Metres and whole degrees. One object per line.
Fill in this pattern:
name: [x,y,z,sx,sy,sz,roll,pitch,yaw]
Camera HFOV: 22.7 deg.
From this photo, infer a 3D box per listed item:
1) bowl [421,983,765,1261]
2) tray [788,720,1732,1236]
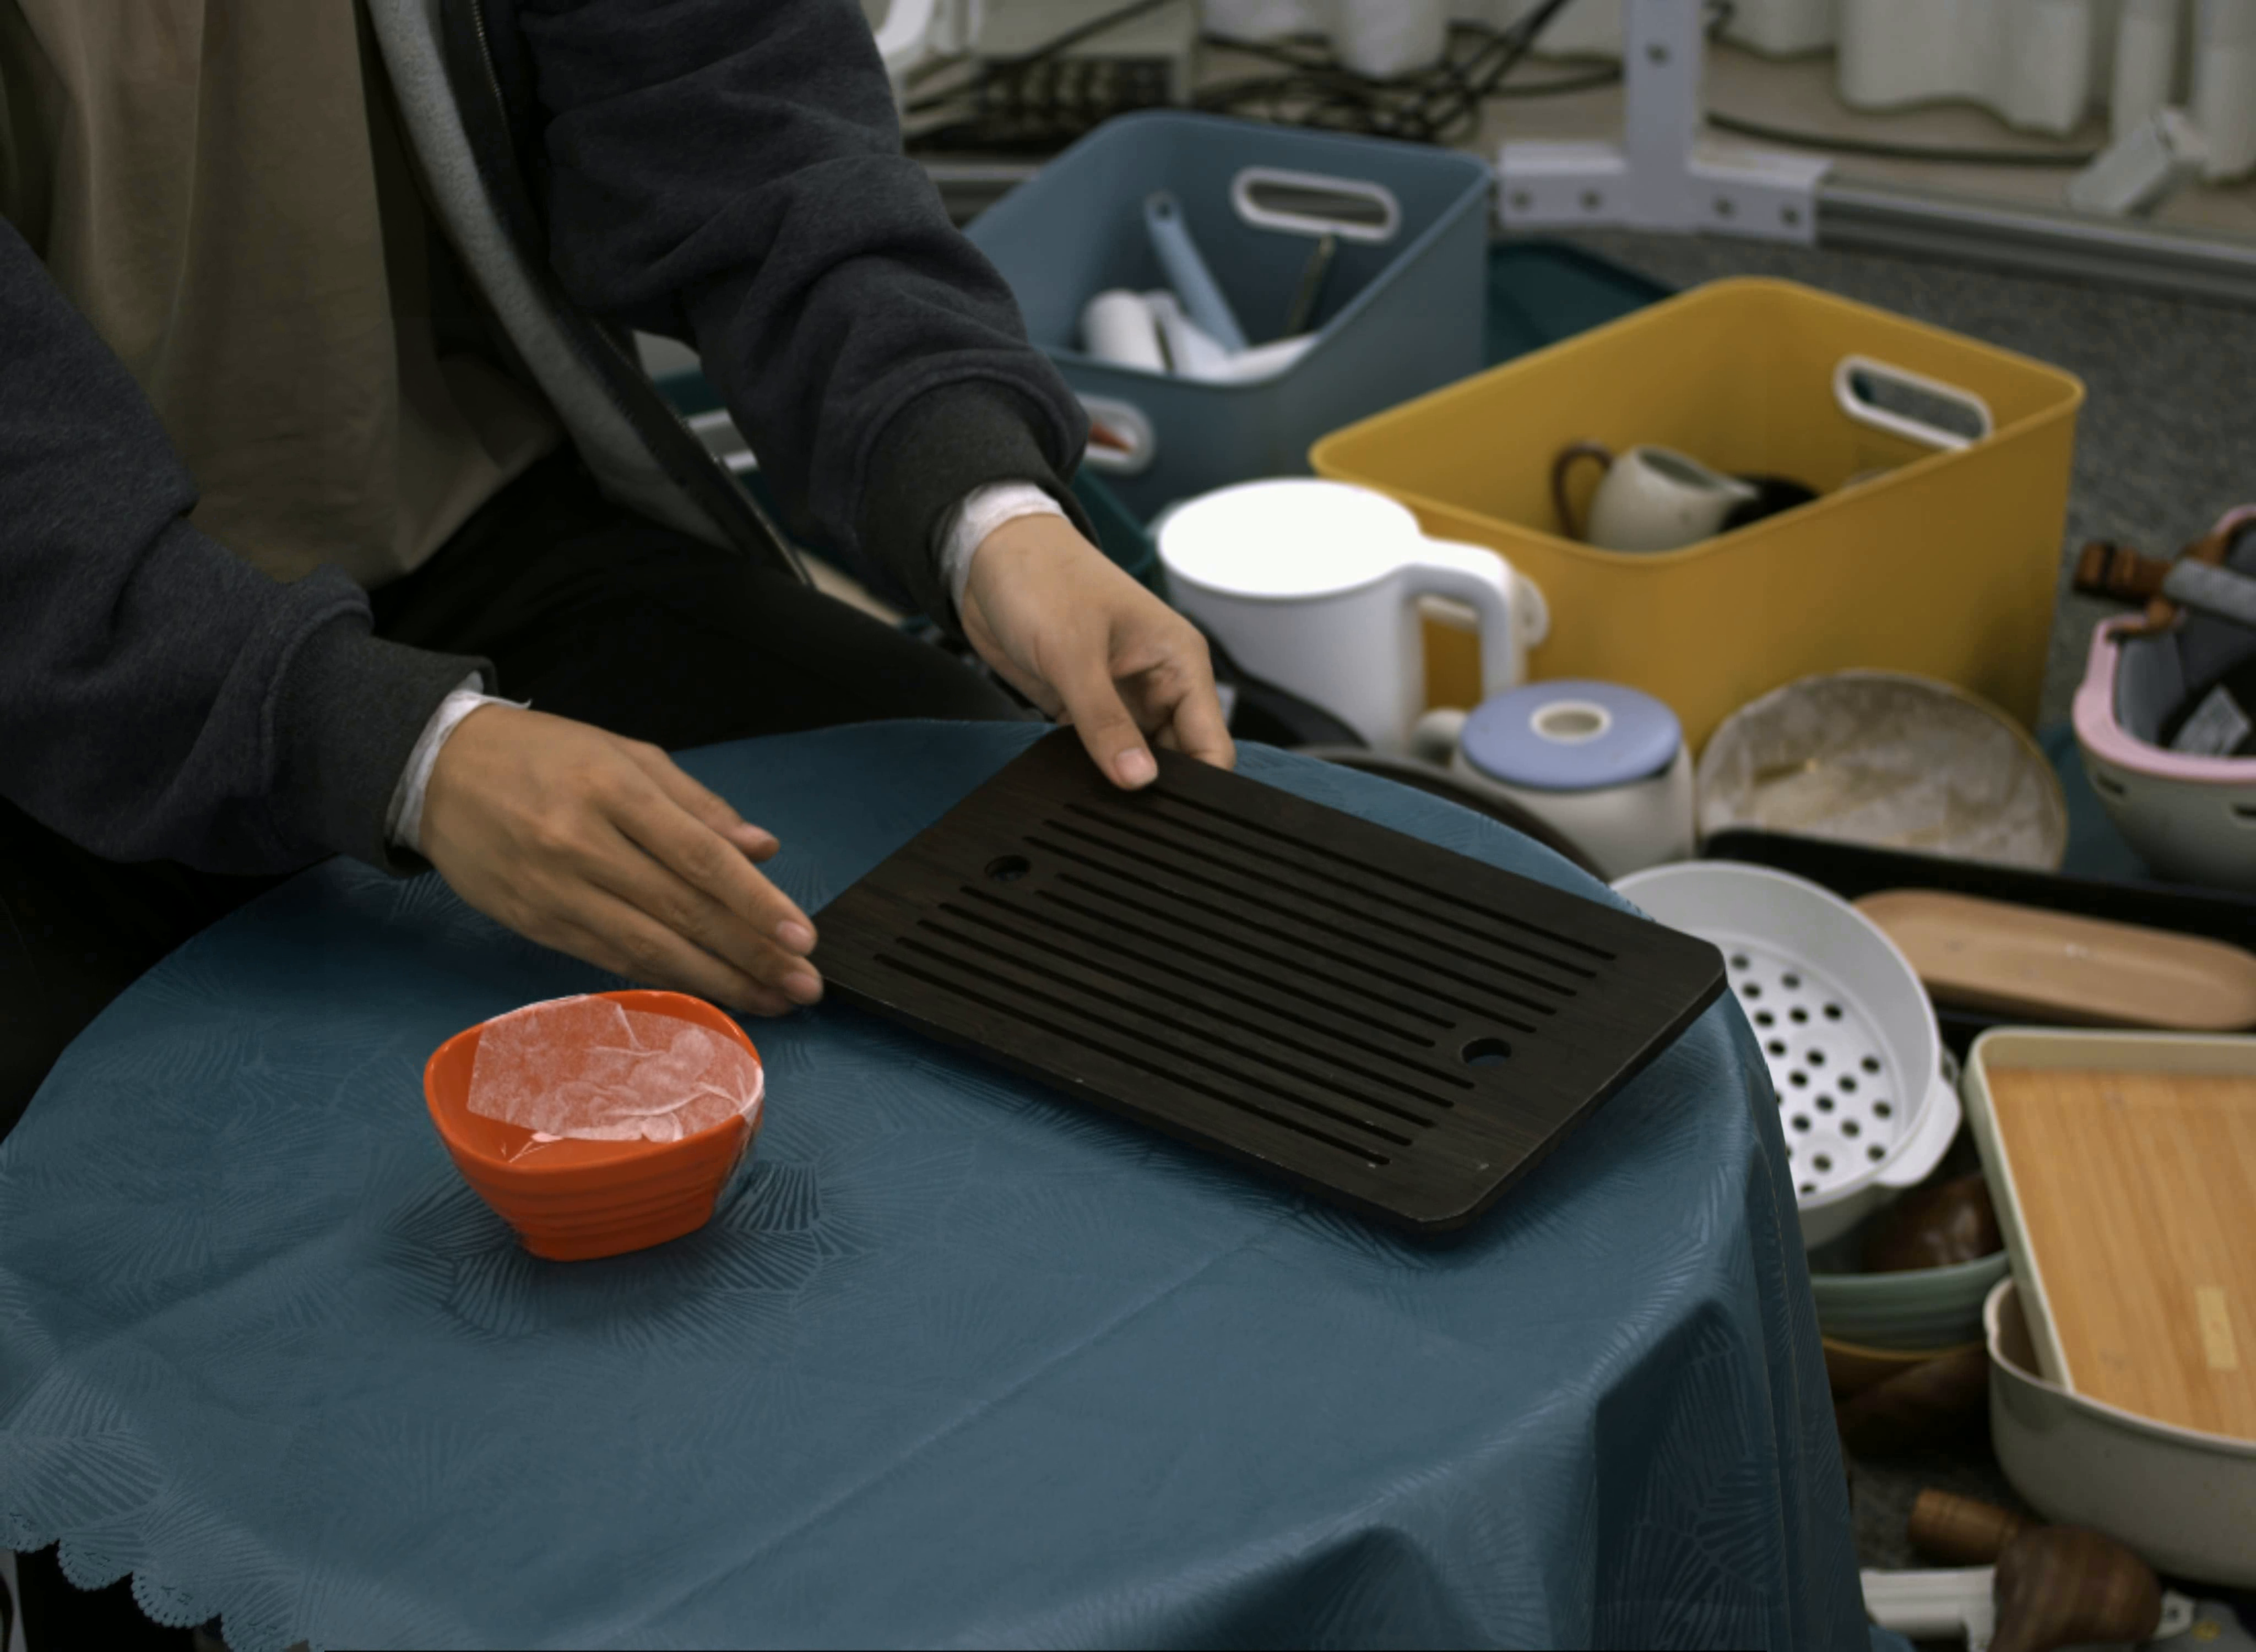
bowl: [-0.175,0.103,1.858,0.118,0.051,0.121,-3,28,2]
tray: [0.043,0.049,1.949,0.305,0.018,0.173,20,44,37]
